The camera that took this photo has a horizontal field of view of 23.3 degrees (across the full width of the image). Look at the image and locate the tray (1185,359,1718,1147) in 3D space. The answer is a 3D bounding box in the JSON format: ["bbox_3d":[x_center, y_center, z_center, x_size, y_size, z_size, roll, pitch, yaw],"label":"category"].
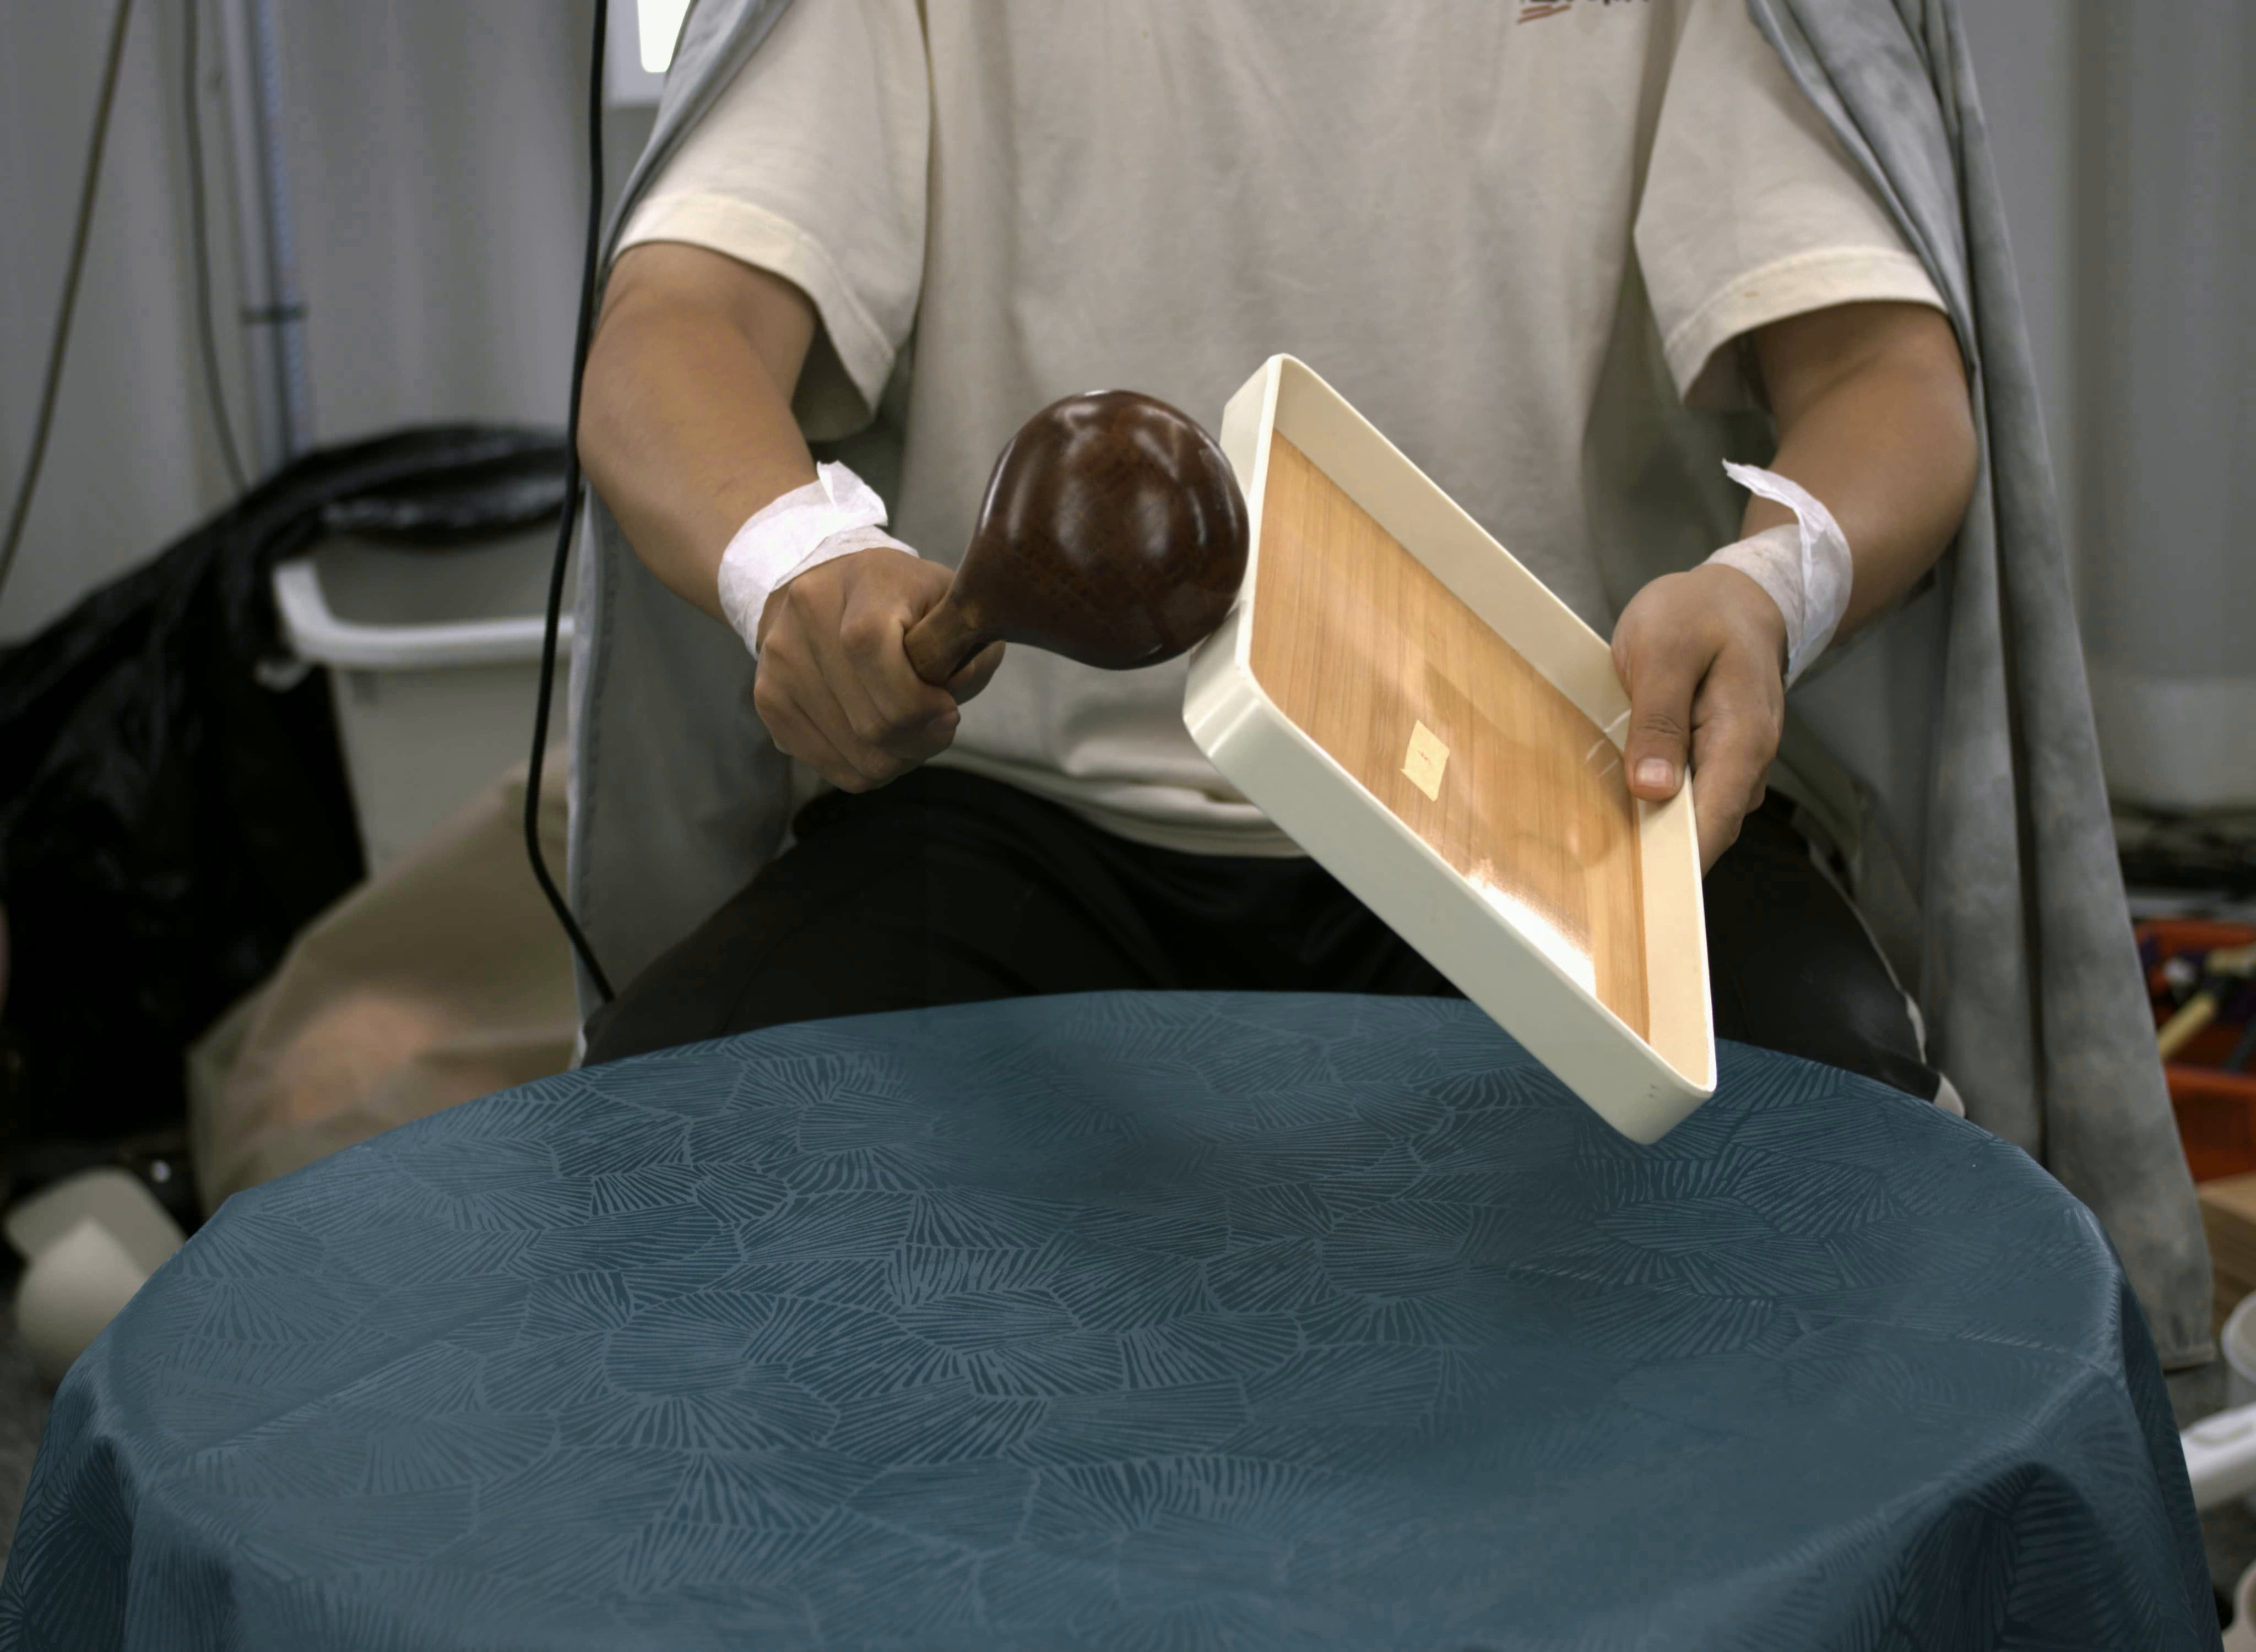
[{"bbox_3d":[0.100,-0.029,1.667,0.027,0.190,0.303,-44,13,19],"label":"tray"}]

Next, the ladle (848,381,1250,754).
[{"bbox_3d":[-0.028,-0.070,1.668,0.076,0.082,0.273,-19,-5,-14],"label":"ladle"}]
